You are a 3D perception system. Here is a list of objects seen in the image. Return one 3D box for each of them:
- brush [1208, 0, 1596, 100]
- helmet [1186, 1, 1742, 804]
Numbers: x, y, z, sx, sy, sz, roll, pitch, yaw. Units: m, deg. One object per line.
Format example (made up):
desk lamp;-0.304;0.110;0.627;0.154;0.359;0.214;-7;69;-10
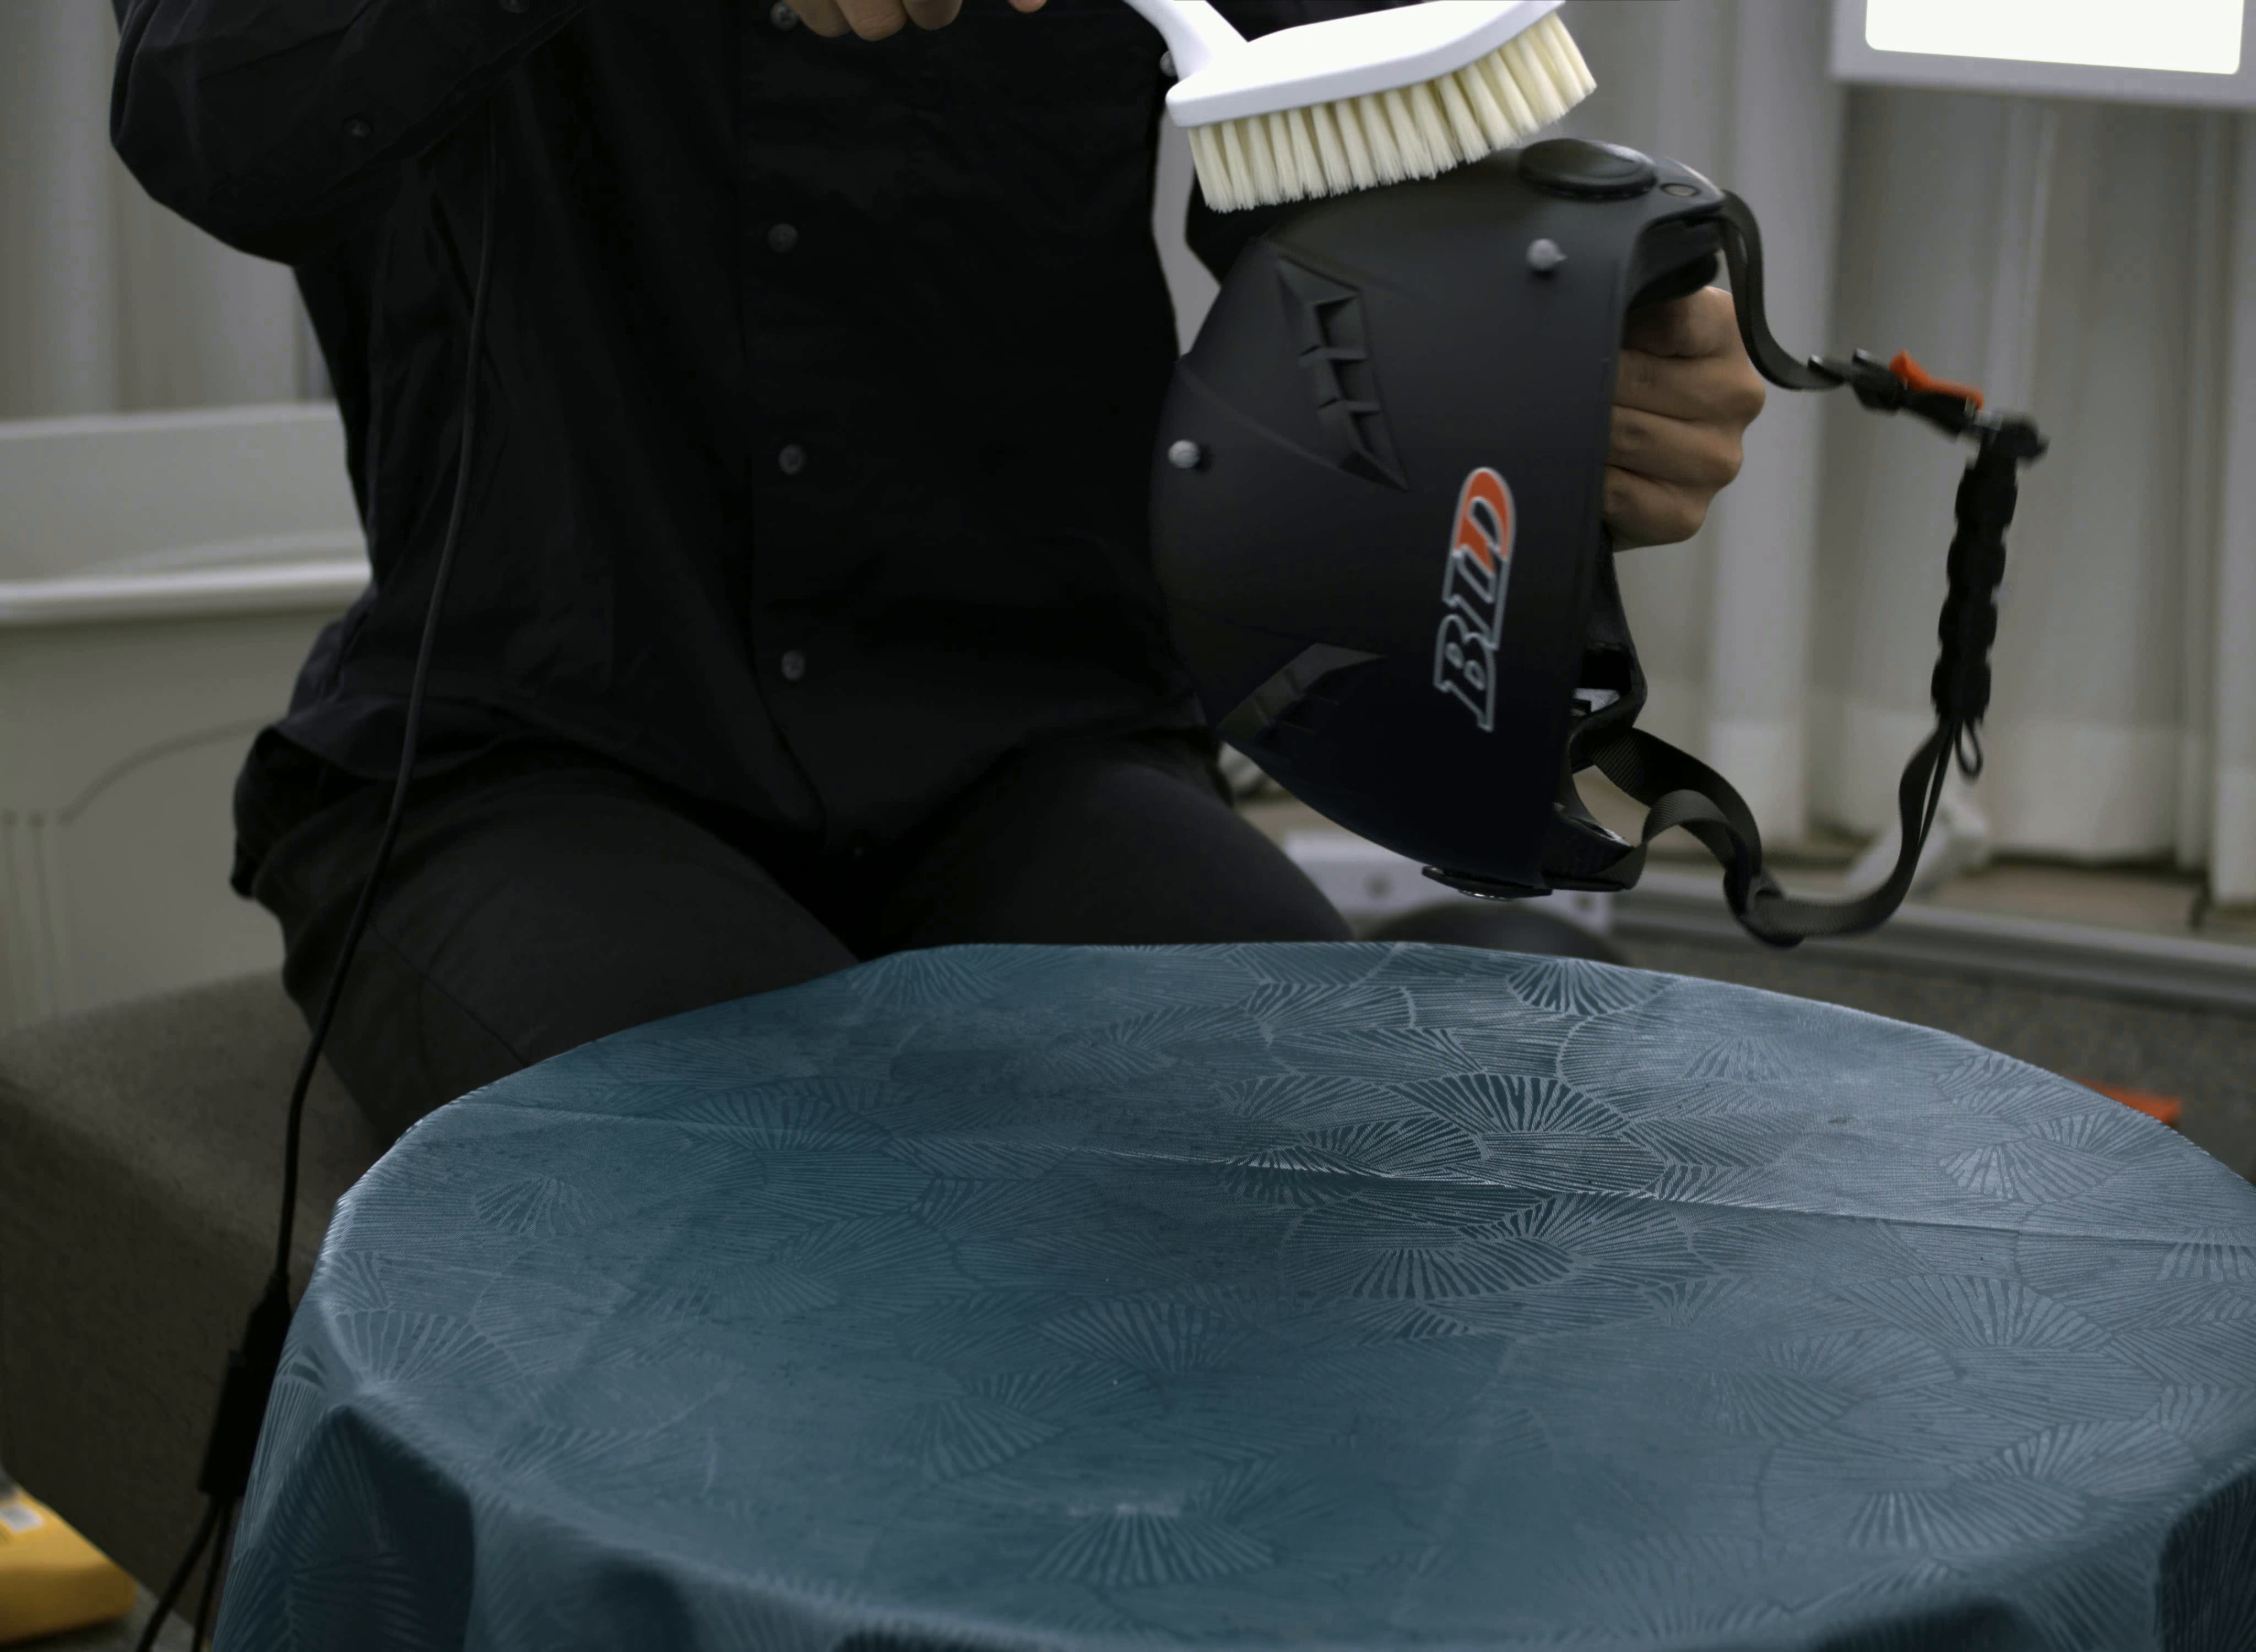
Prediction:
brush;0.012;-0.267;1.643;0.321;0.084;0.084;9;-7;32
helmet;0.103;-0.136;1.616;0.171;0.248;0.275;7;16;4
